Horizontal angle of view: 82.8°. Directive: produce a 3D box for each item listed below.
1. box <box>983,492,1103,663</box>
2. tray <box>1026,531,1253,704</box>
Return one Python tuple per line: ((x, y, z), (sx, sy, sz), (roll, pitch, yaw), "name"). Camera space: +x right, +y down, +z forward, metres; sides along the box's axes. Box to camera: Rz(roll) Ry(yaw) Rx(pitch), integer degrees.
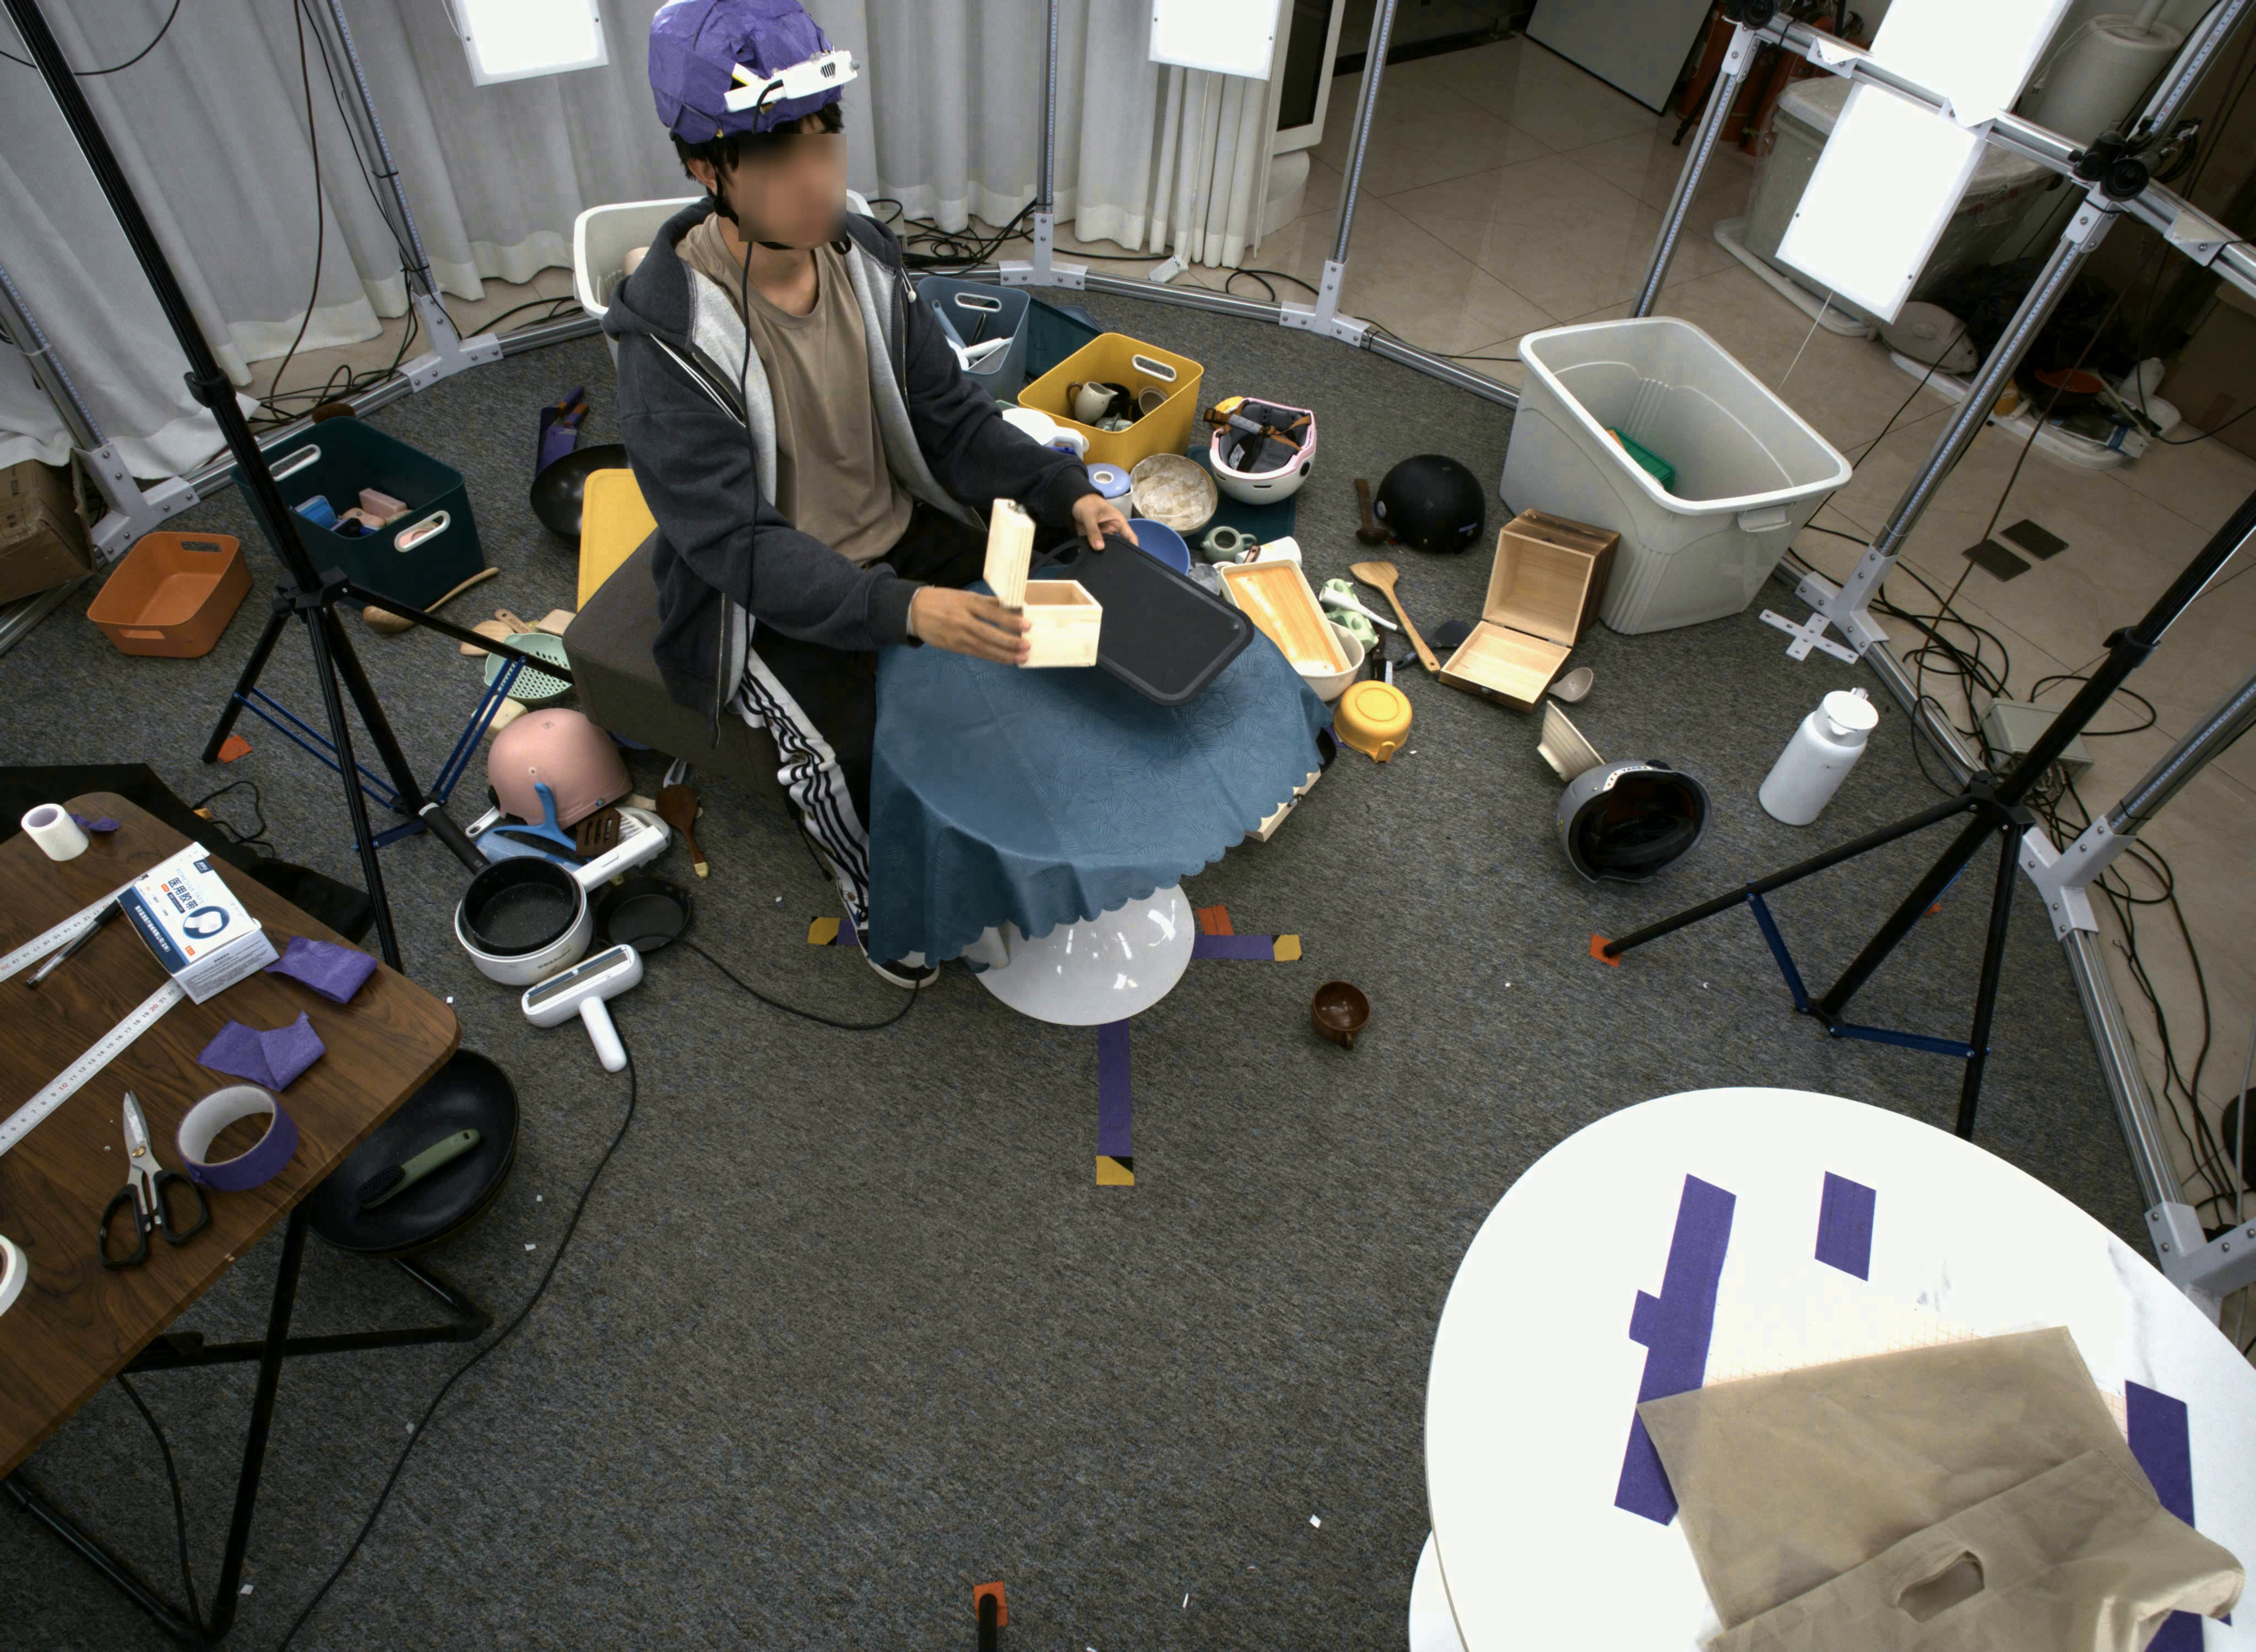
((-0.100, -0.303, 1.569), (0.133, 0.181, 0.105), (-3, 27, -22), "box")
((0.002, -0.304, 1.812), (0.329, 0.009, 0.213), (36, 62, 20), "tray")
